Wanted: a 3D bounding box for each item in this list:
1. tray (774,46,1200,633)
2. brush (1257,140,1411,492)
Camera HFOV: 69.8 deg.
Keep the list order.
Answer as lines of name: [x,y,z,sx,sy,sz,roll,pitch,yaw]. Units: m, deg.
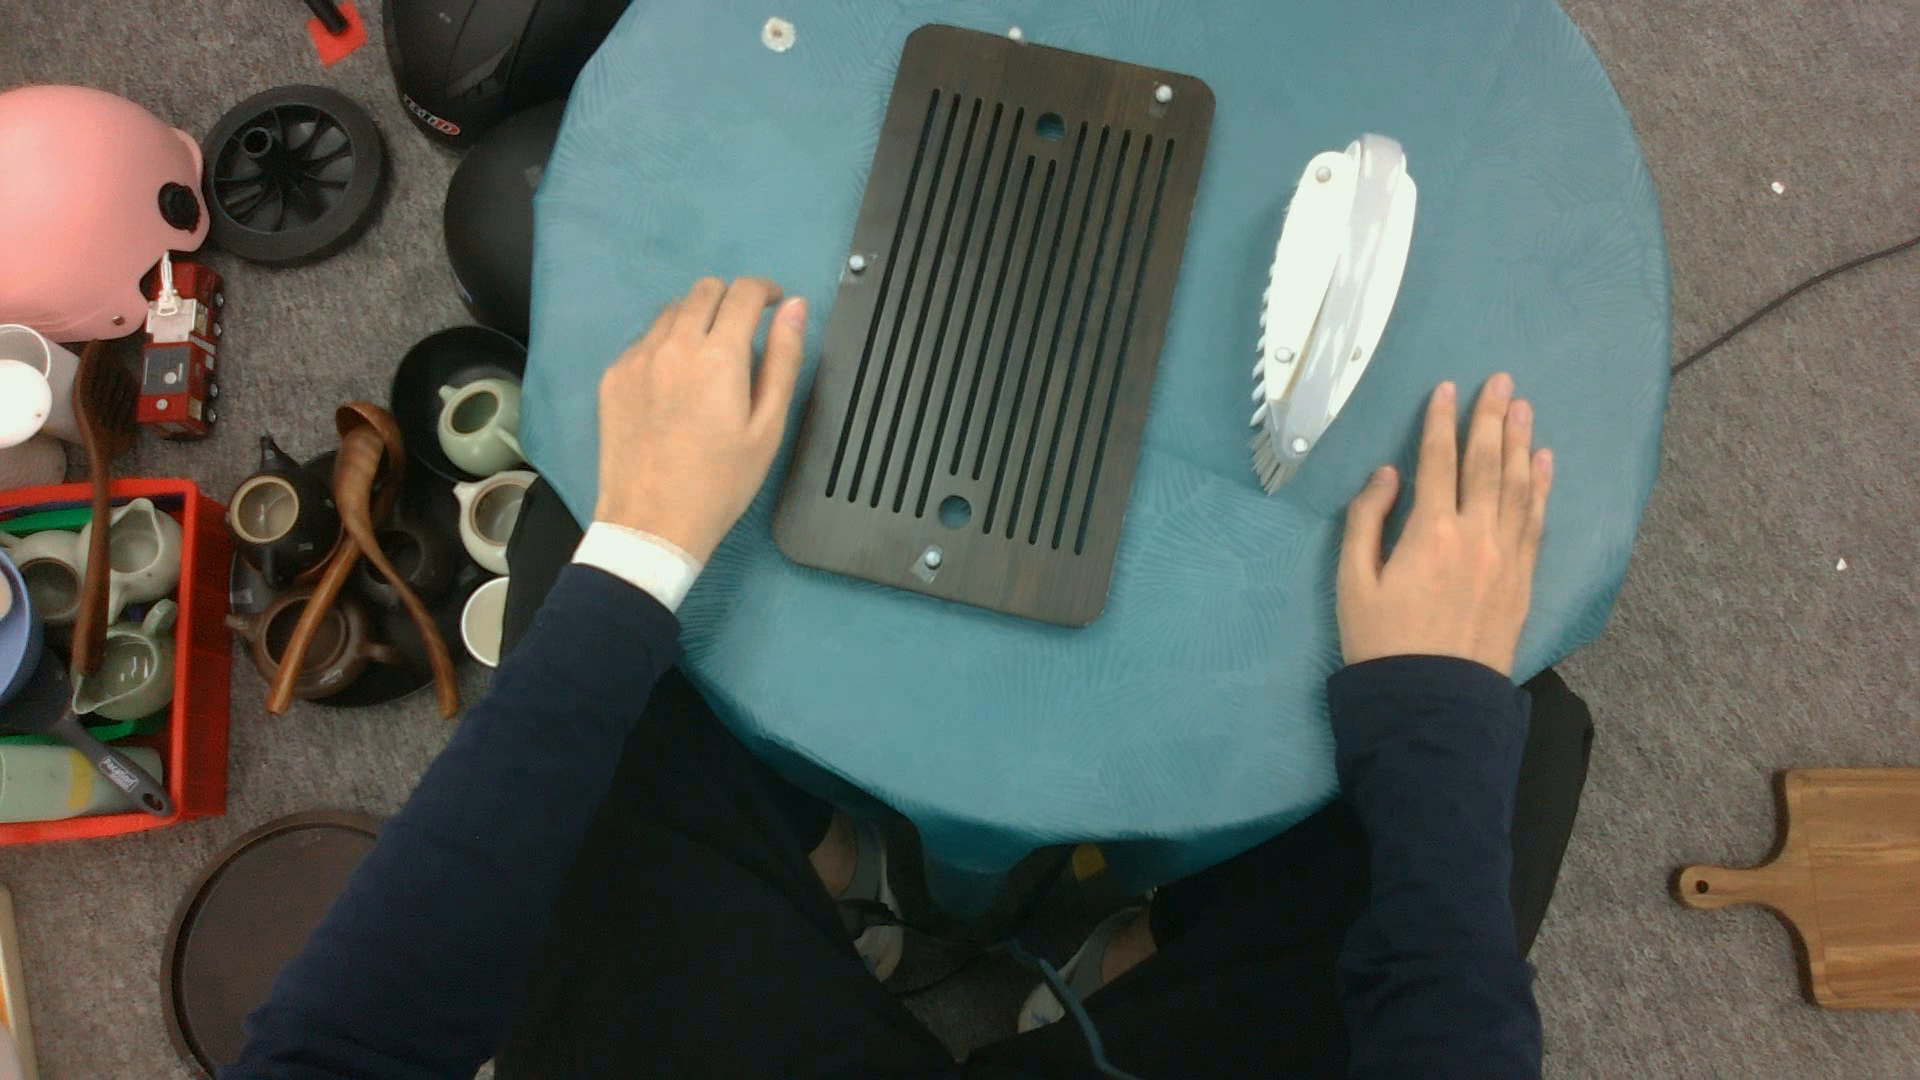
tray: [0.018,-0.112,0.727,0.170,0.018,0.306,12,77,4]
brush: [0.183,-0.115,0.686,0.061,0.094,0.176,15,79,5]
